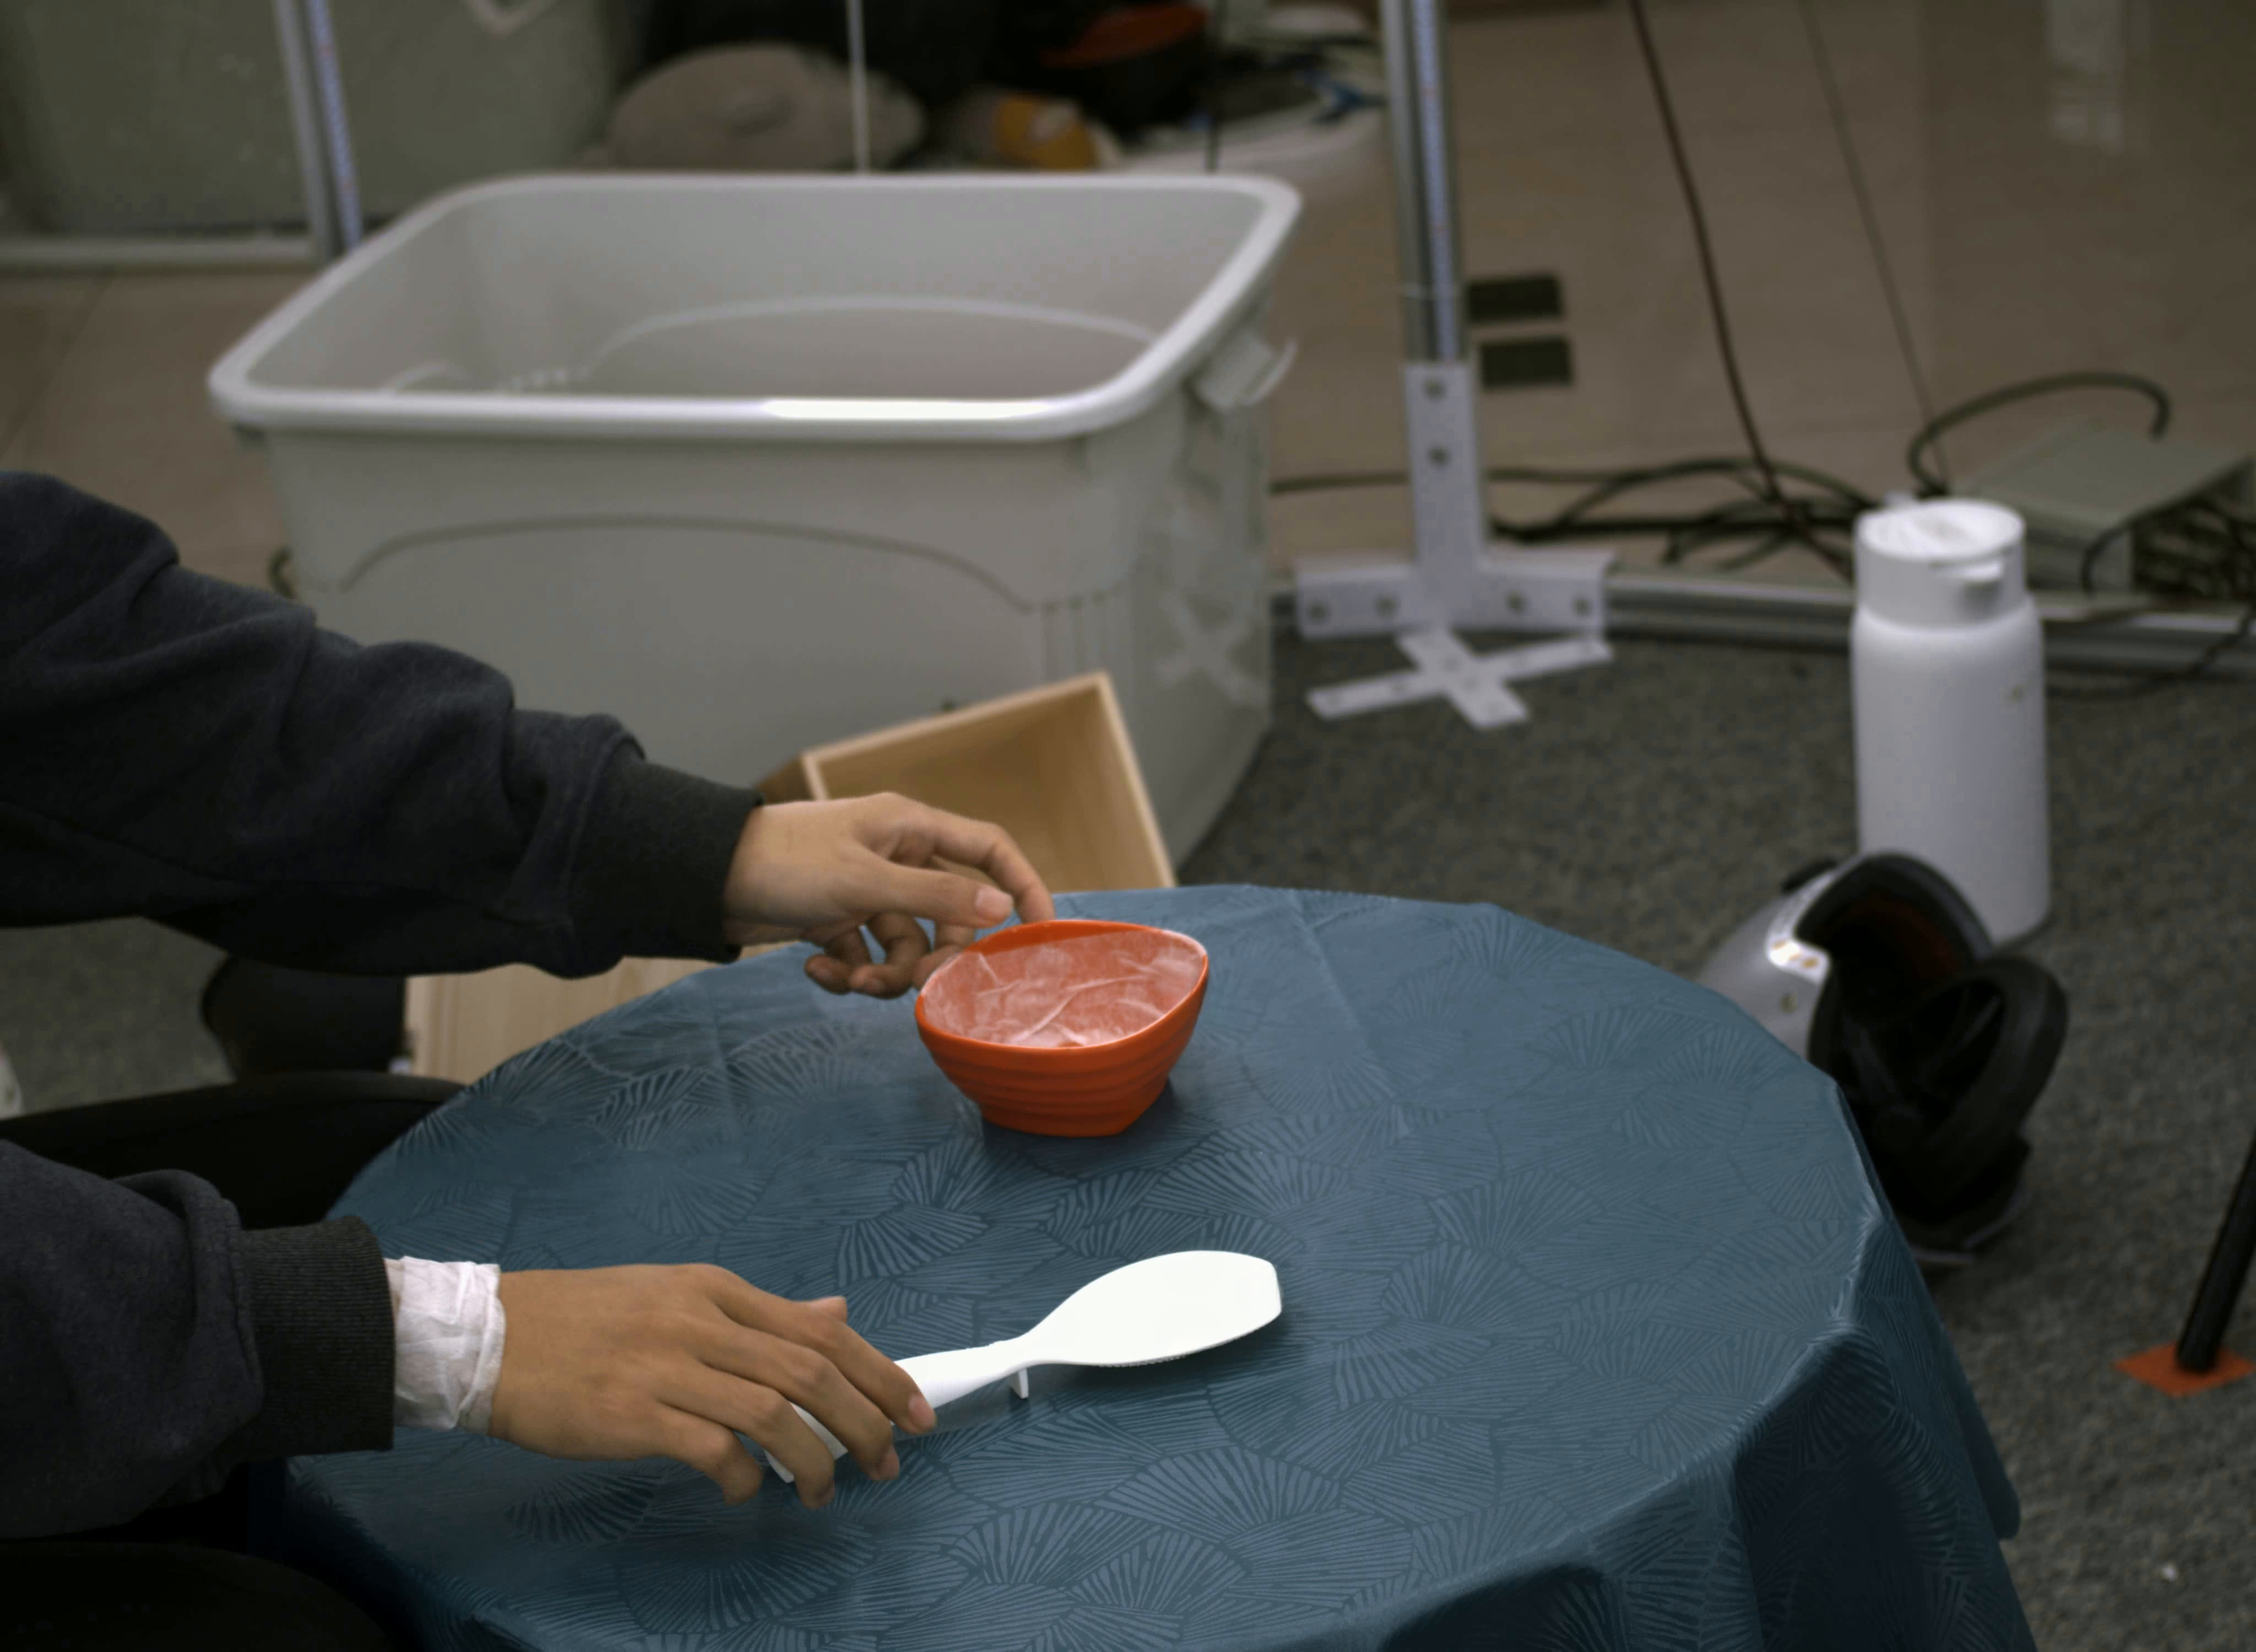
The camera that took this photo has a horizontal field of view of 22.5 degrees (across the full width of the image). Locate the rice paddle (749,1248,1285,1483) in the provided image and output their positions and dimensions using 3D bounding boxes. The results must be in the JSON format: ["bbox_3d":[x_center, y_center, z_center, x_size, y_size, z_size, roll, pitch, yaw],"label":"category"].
[{"bbox_3d":[-0.037,0.186,2.018,0.204,0.030,0.068,-17,29,-22],"label":"rice paddle"}]

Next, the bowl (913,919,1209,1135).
[{"bbox_3d":[-0.024,0.082,2.211,0.119,0.052,0.117,-5,25,2],"label":"bowl"}]
